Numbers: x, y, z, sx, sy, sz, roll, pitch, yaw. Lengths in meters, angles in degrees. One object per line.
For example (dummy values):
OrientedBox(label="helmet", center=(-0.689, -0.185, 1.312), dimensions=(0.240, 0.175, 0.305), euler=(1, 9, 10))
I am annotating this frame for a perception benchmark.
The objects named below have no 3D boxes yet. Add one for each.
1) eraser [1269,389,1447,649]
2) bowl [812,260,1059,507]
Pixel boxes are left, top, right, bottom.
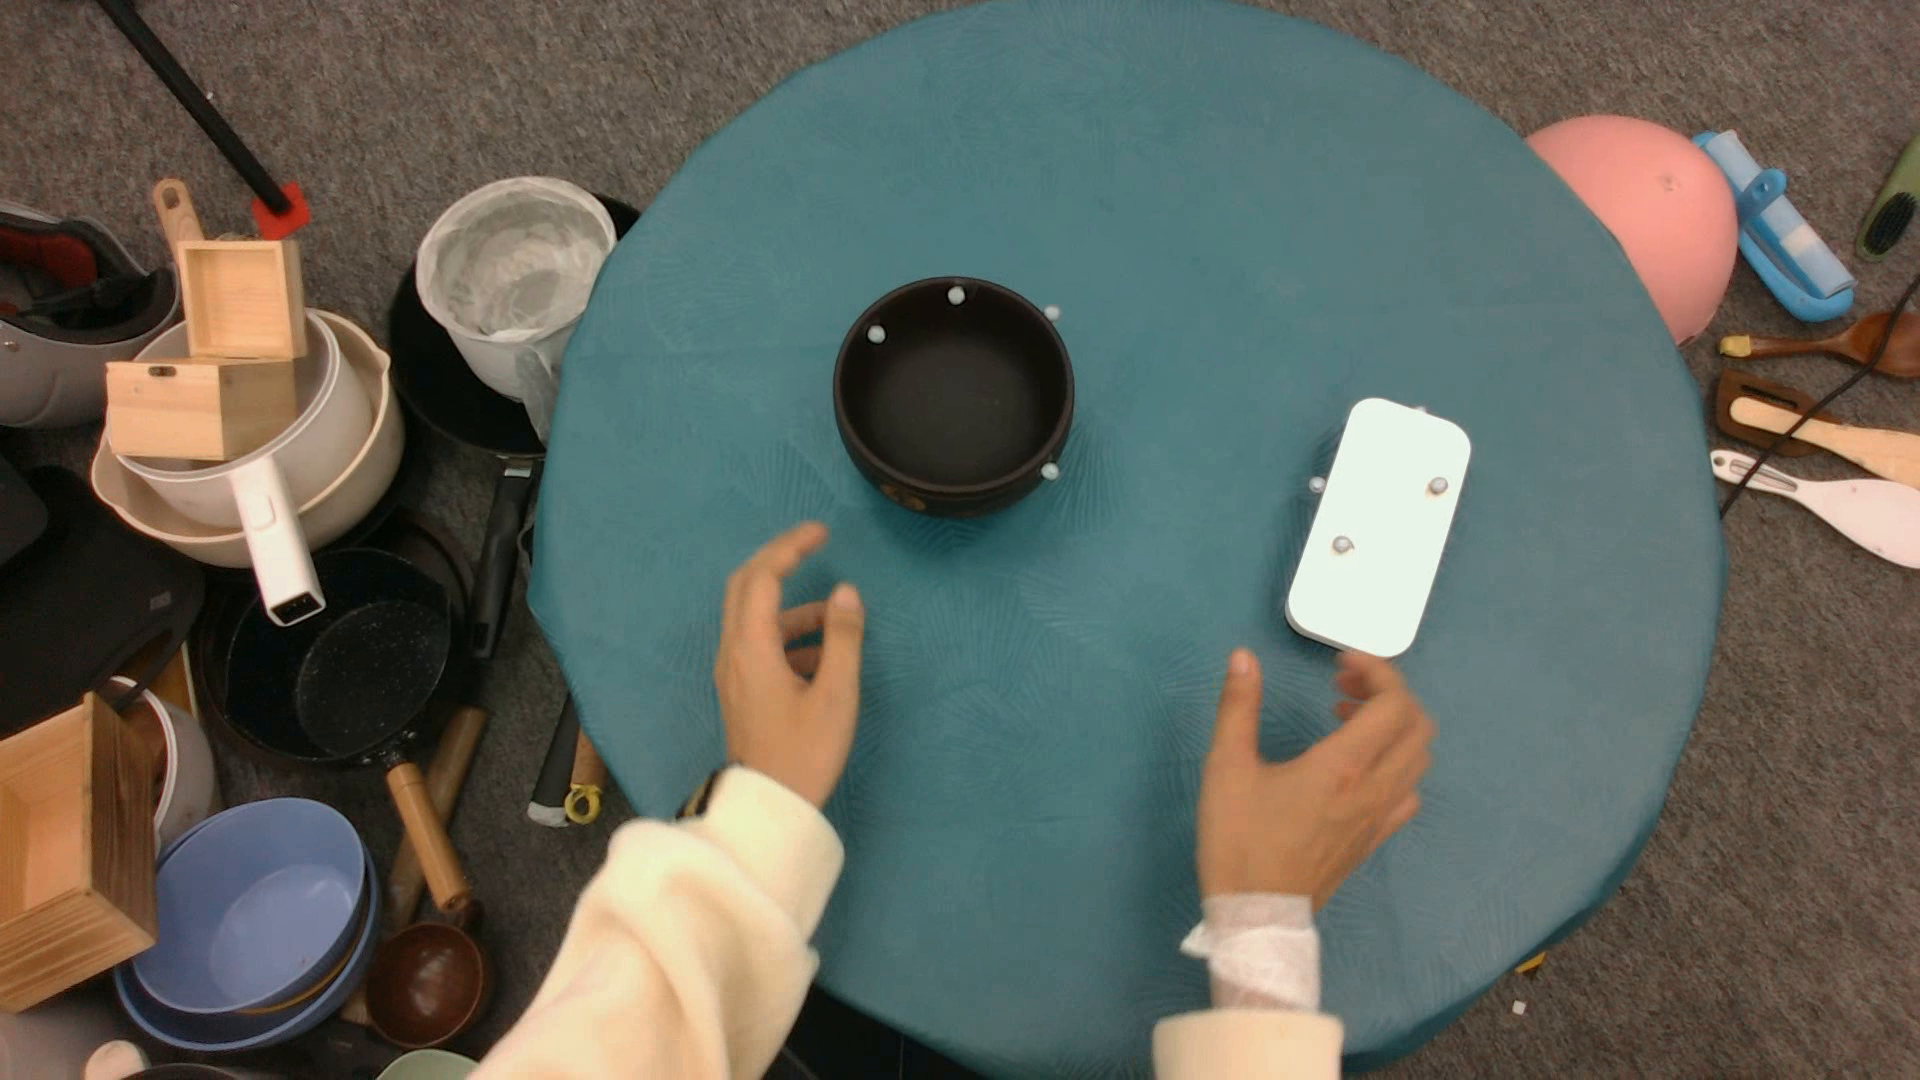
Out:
OrientedBox(label="eraser", center=(0.195, -0.012, 0.681), dimensions=(0.063, 0.034, 0.132), euler=(20, 70, 7))
OrientedBox(label="bowl", center=(-0.011, -0.070, 0.675), dimensions=(0.118, 0.069, 0.118), euler=(0, 71, 1))
